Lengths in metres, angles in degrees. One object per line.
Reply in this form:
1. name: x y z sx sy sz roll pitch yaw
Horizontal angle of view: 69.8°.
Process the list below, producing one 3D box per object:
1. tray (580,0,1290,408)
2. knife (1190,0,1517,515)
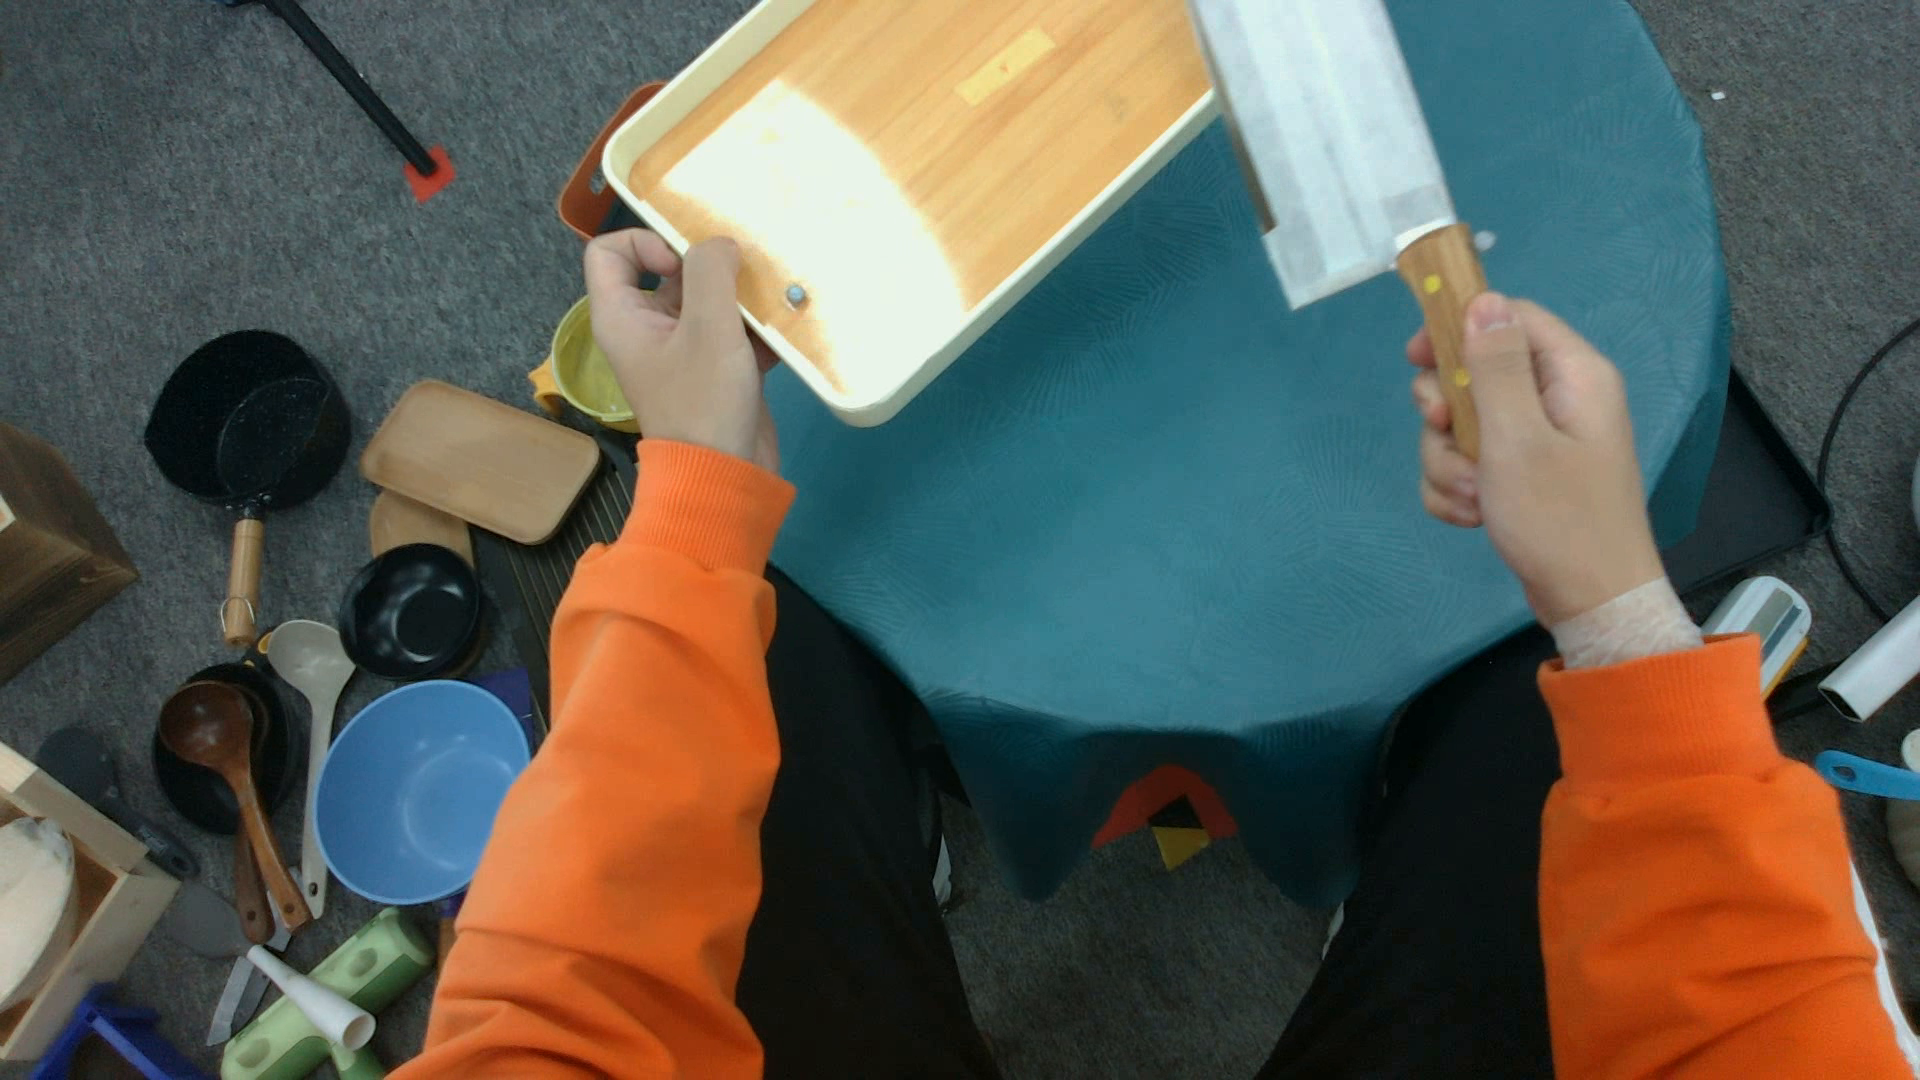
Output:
1. tray: -0.010 -0.220 0.641 0.300 0.027 0.192 -43 75 -6
2. knife: 0.151 -0.152 0.570 0.021 0.092 0.305 -19 92 -35
